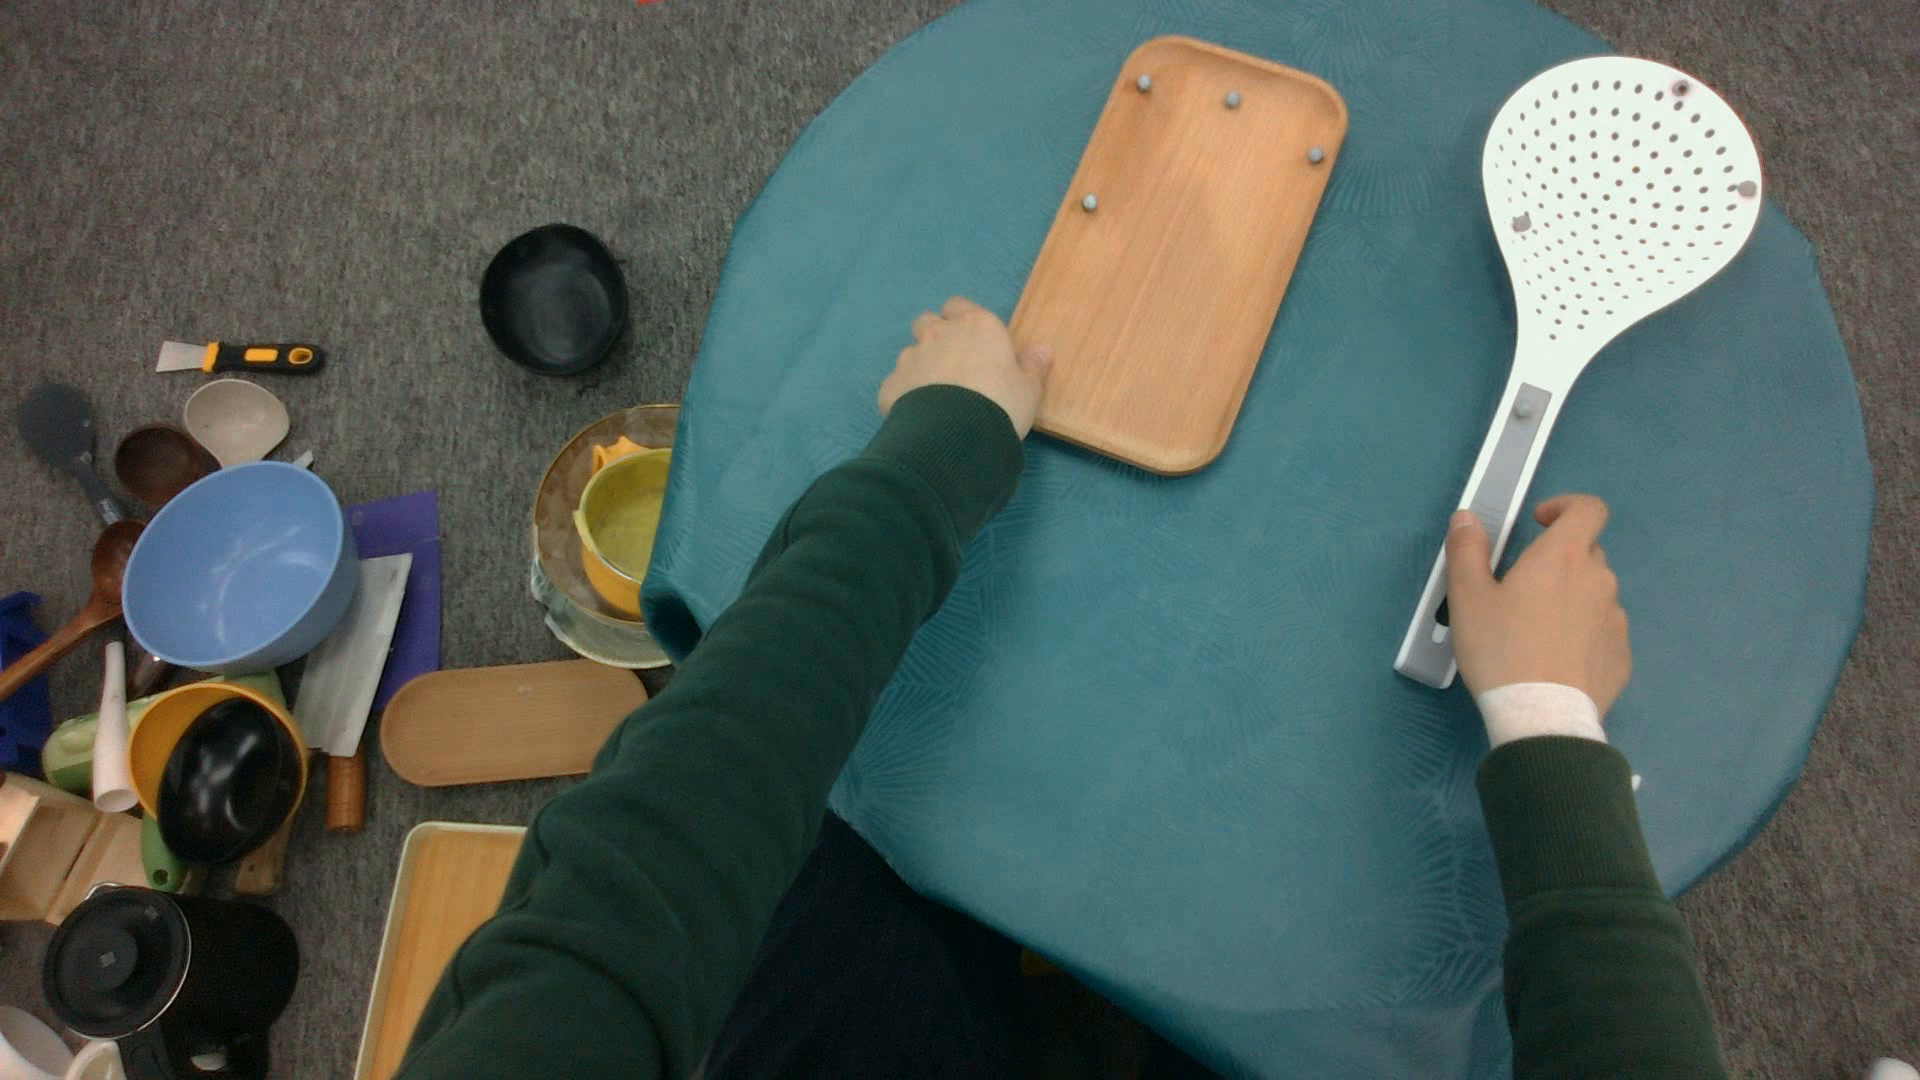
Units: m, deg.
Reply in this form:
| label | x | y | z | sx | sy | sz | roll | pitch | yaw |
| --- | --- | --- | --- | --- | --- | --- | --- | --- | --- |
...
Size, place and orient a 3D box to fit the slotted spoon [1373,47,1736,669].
| label | x | y | z | sx | sy | sz | roll | pitch | yaw |
| --- | --- | --- | --- | --- | --- | --- | --- | --- | --- |
| slotted spoon | 0.282 | -0.096 | 0.691 | 0.136 | 0.045 | 0.351 | 23 | 73 | 11 |

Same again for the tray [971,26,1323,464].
| label | x | y | z | sx | sy | sz | roll | pitch | yaw |
| --- | --- | --- | --- | --- | --- | --- | --- | --- | --- |
| tray | 0.102 | -0.161 | 0.733 | 0.130 | 0.023 | 0.251 | 20 | 73 | 10 |
